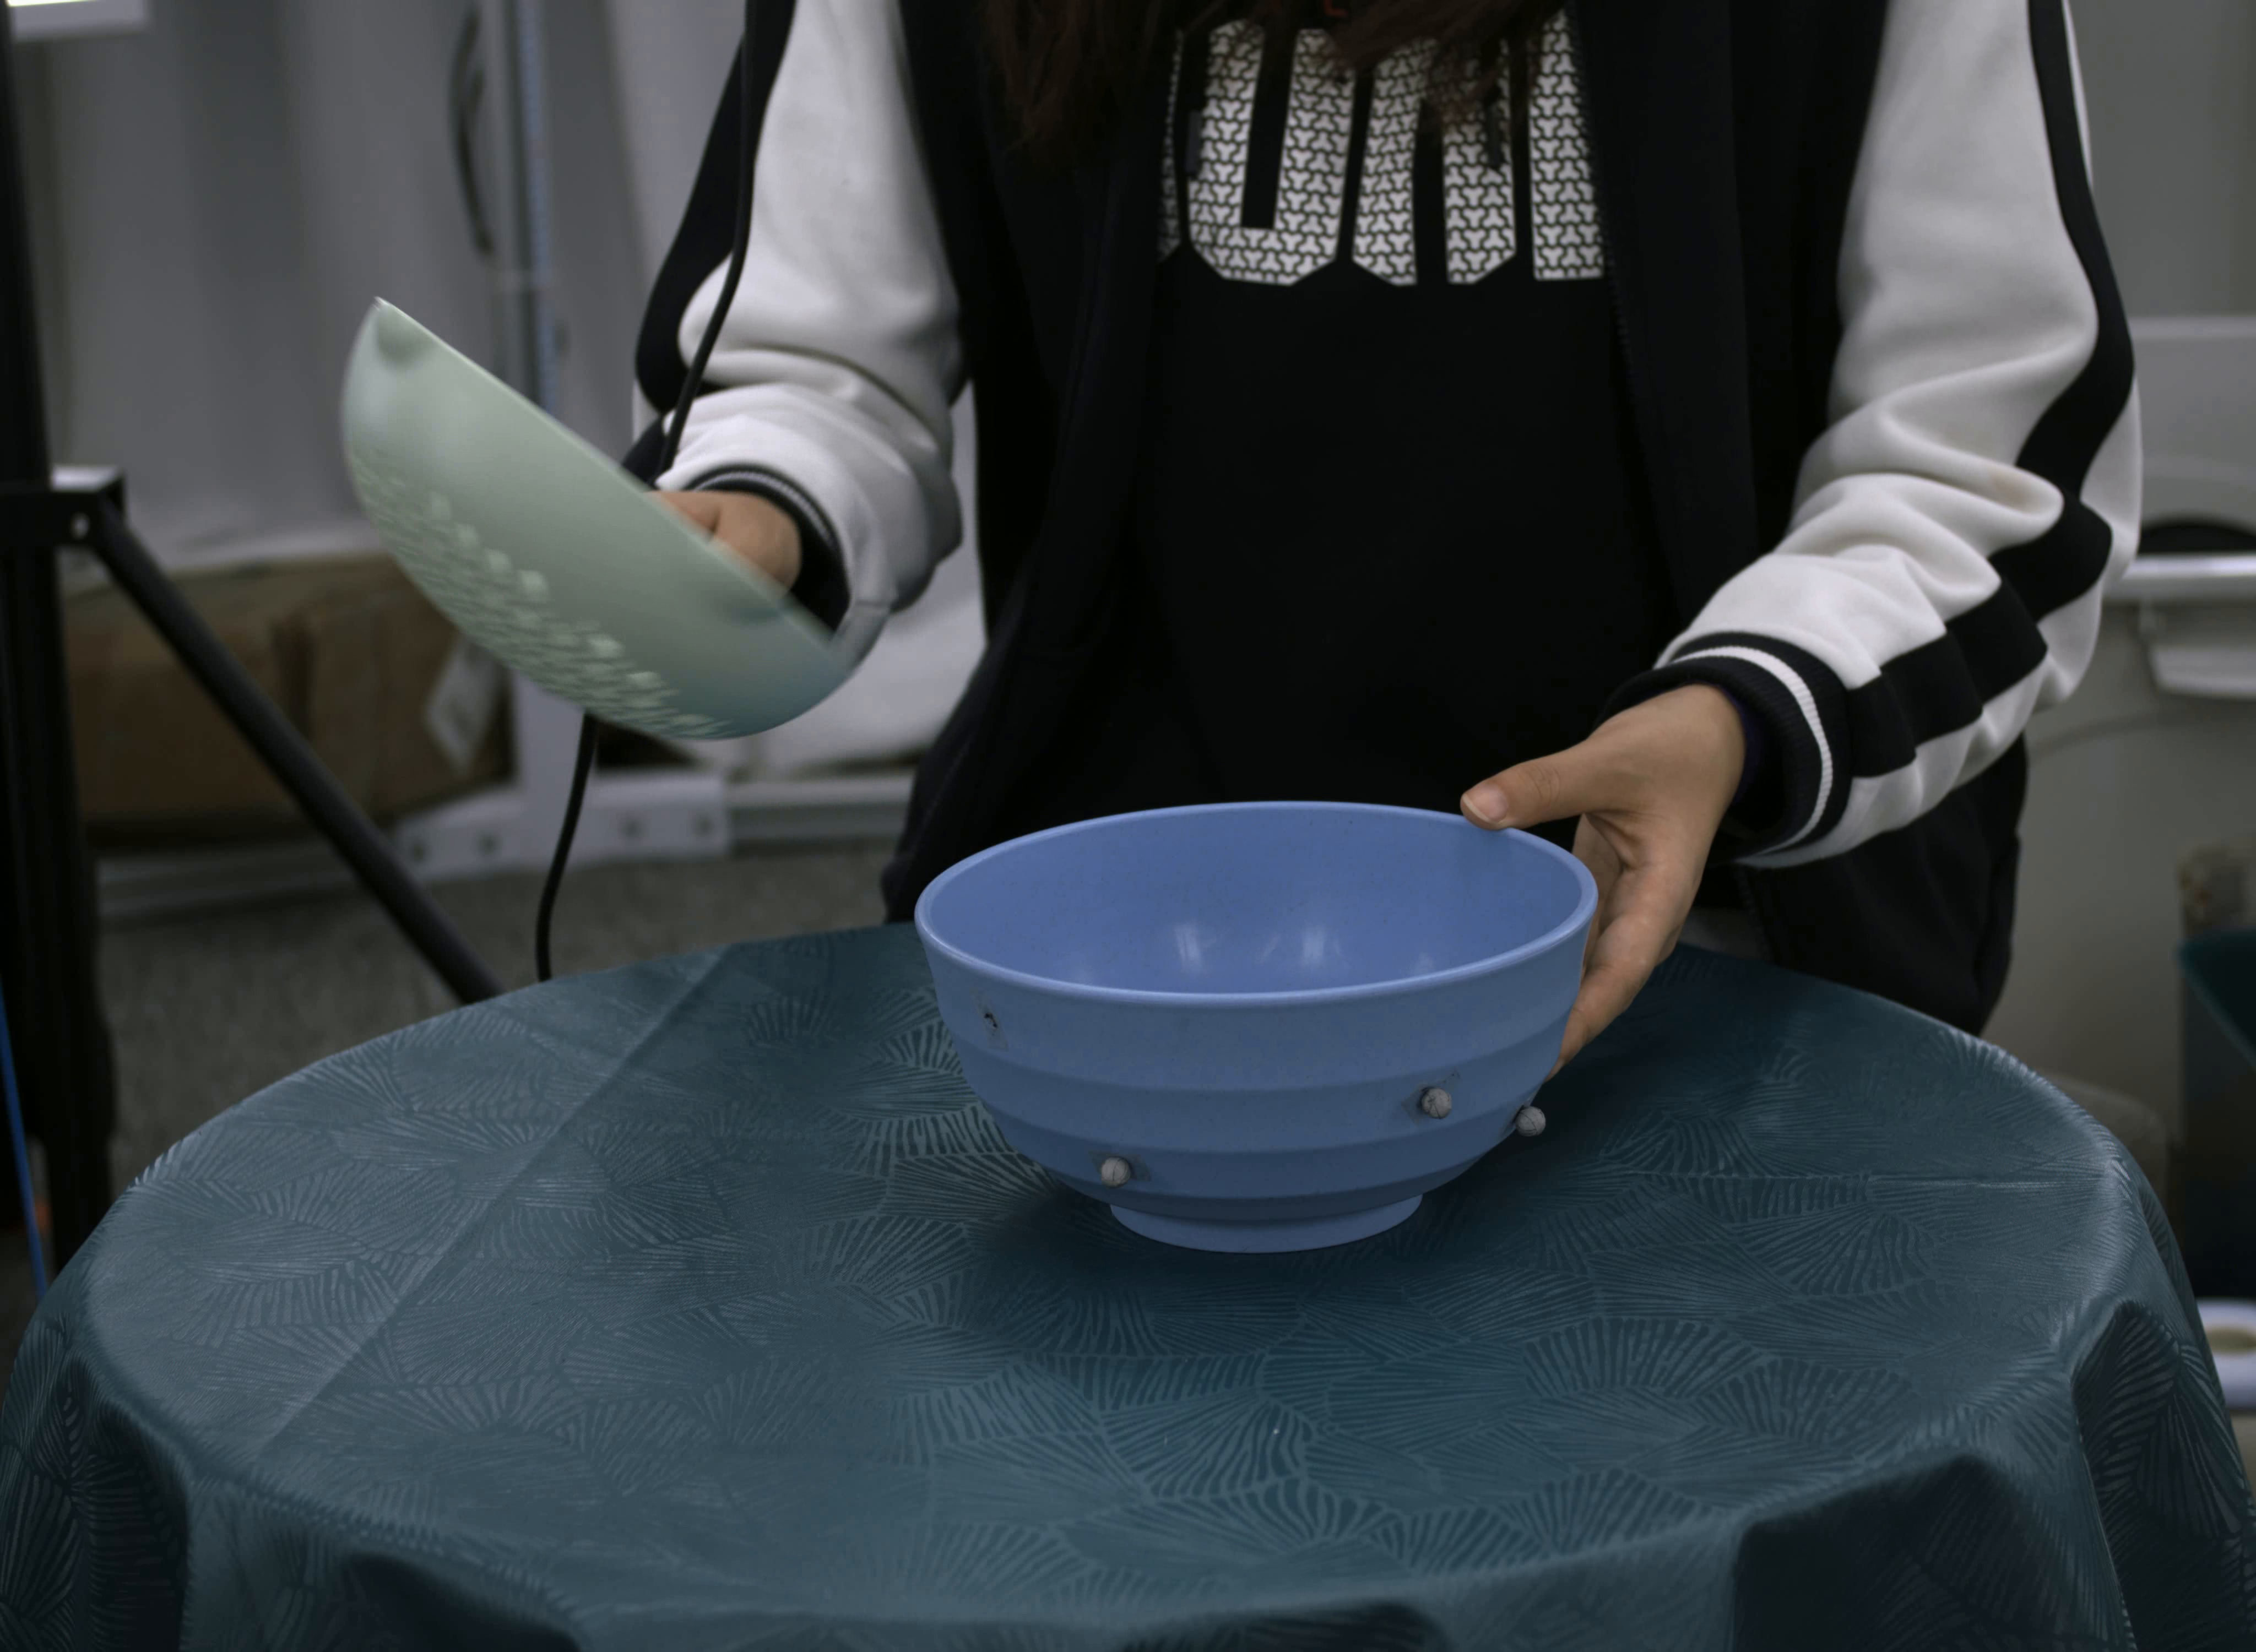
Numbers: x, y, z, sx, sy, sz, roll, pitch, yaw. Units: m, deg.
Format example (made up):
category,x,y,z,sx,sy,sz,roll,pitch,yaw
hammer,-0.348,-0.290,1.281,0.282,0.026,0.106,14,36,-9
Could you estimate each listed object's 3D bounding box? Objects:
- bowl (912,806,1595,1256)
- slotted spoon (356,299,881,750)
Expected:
category,x,y,z,sx,sy,sz,roll,pitch,yaw
bowl,0.038,0.064,1.533,0.195,0.095,0.197,-3,15,-1
slotted spoon,-0.140,-0.068,1.591,0.170,0.075,0.356,35,2,9
